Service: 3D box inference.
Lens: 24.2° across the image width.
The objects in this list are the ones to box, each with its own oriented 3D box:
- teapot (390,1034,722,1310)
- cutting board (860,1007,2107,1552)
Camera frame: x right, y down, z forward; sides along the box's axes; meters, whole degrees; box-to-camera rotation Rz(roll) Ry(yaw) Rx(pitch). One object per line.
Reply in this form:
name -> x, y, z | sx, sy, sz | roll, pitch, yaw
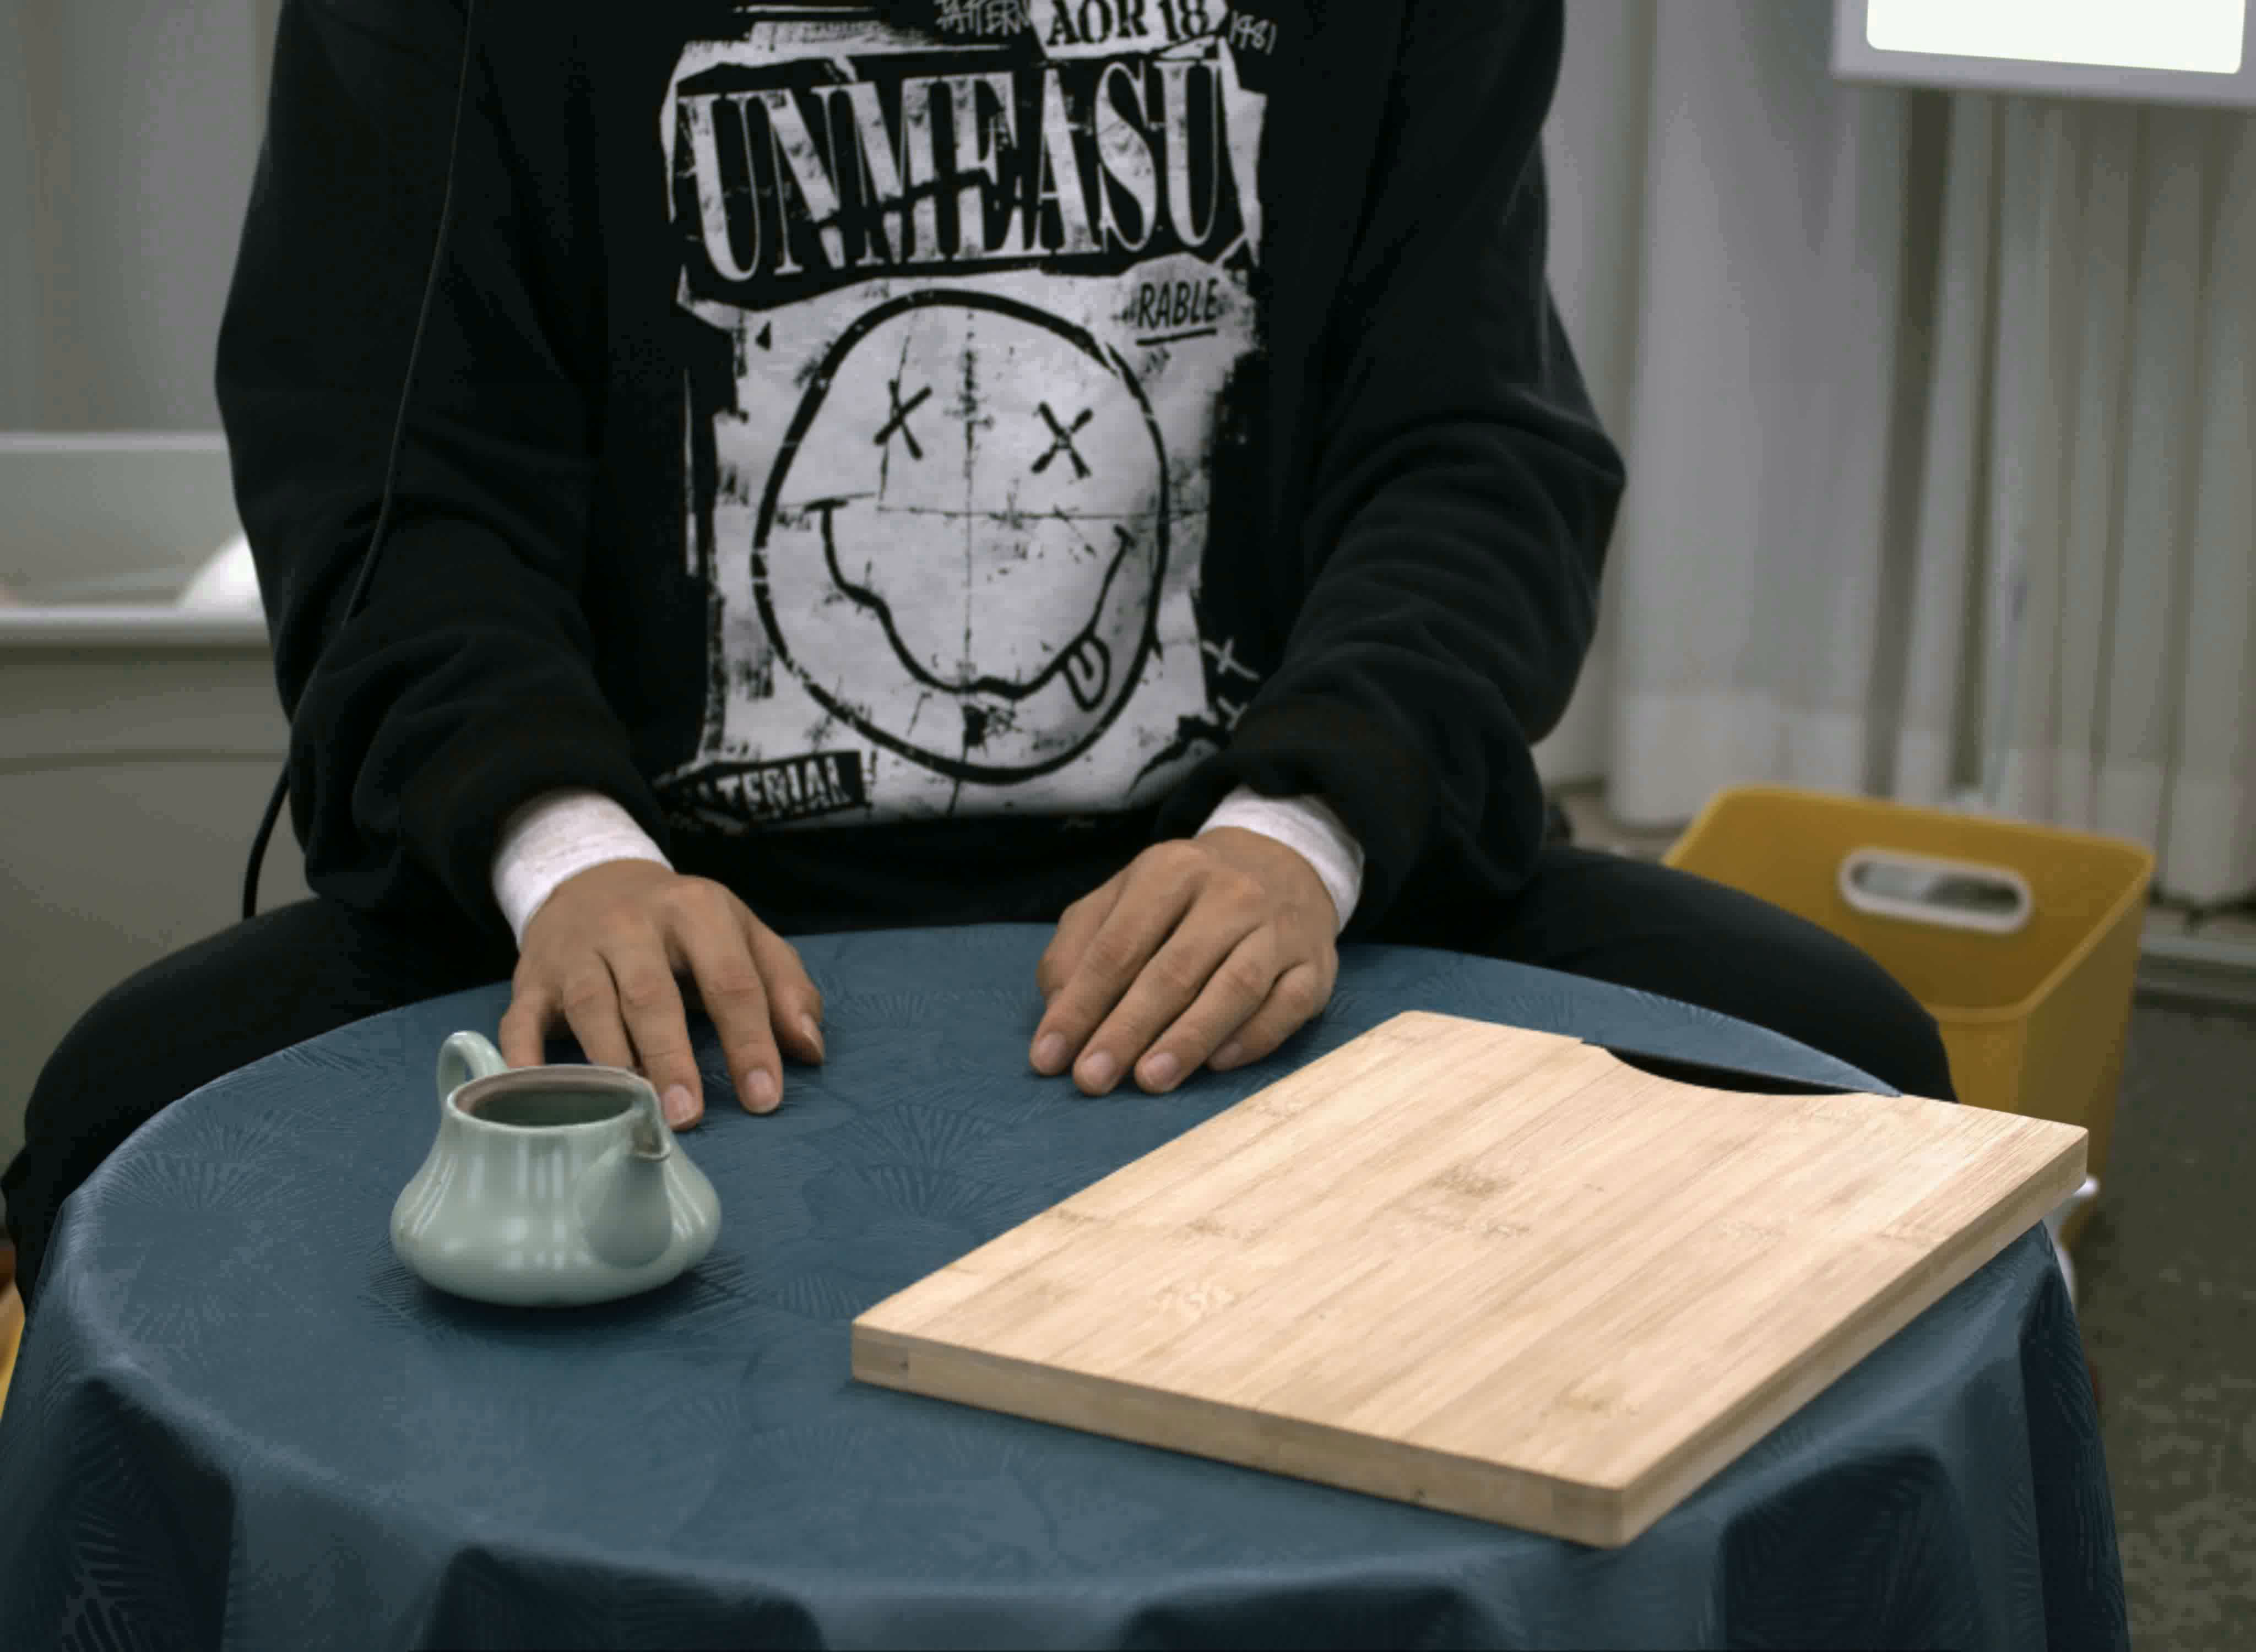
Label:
teapot -> -0.170, 0.103, 1.539 | 0.096, 0.062, 0.135 | -13, 21, -34
cutting board -> 0.113, 0.123, 1.556 | 0.248, 0.024, 0.349 | 9, 18, 28
